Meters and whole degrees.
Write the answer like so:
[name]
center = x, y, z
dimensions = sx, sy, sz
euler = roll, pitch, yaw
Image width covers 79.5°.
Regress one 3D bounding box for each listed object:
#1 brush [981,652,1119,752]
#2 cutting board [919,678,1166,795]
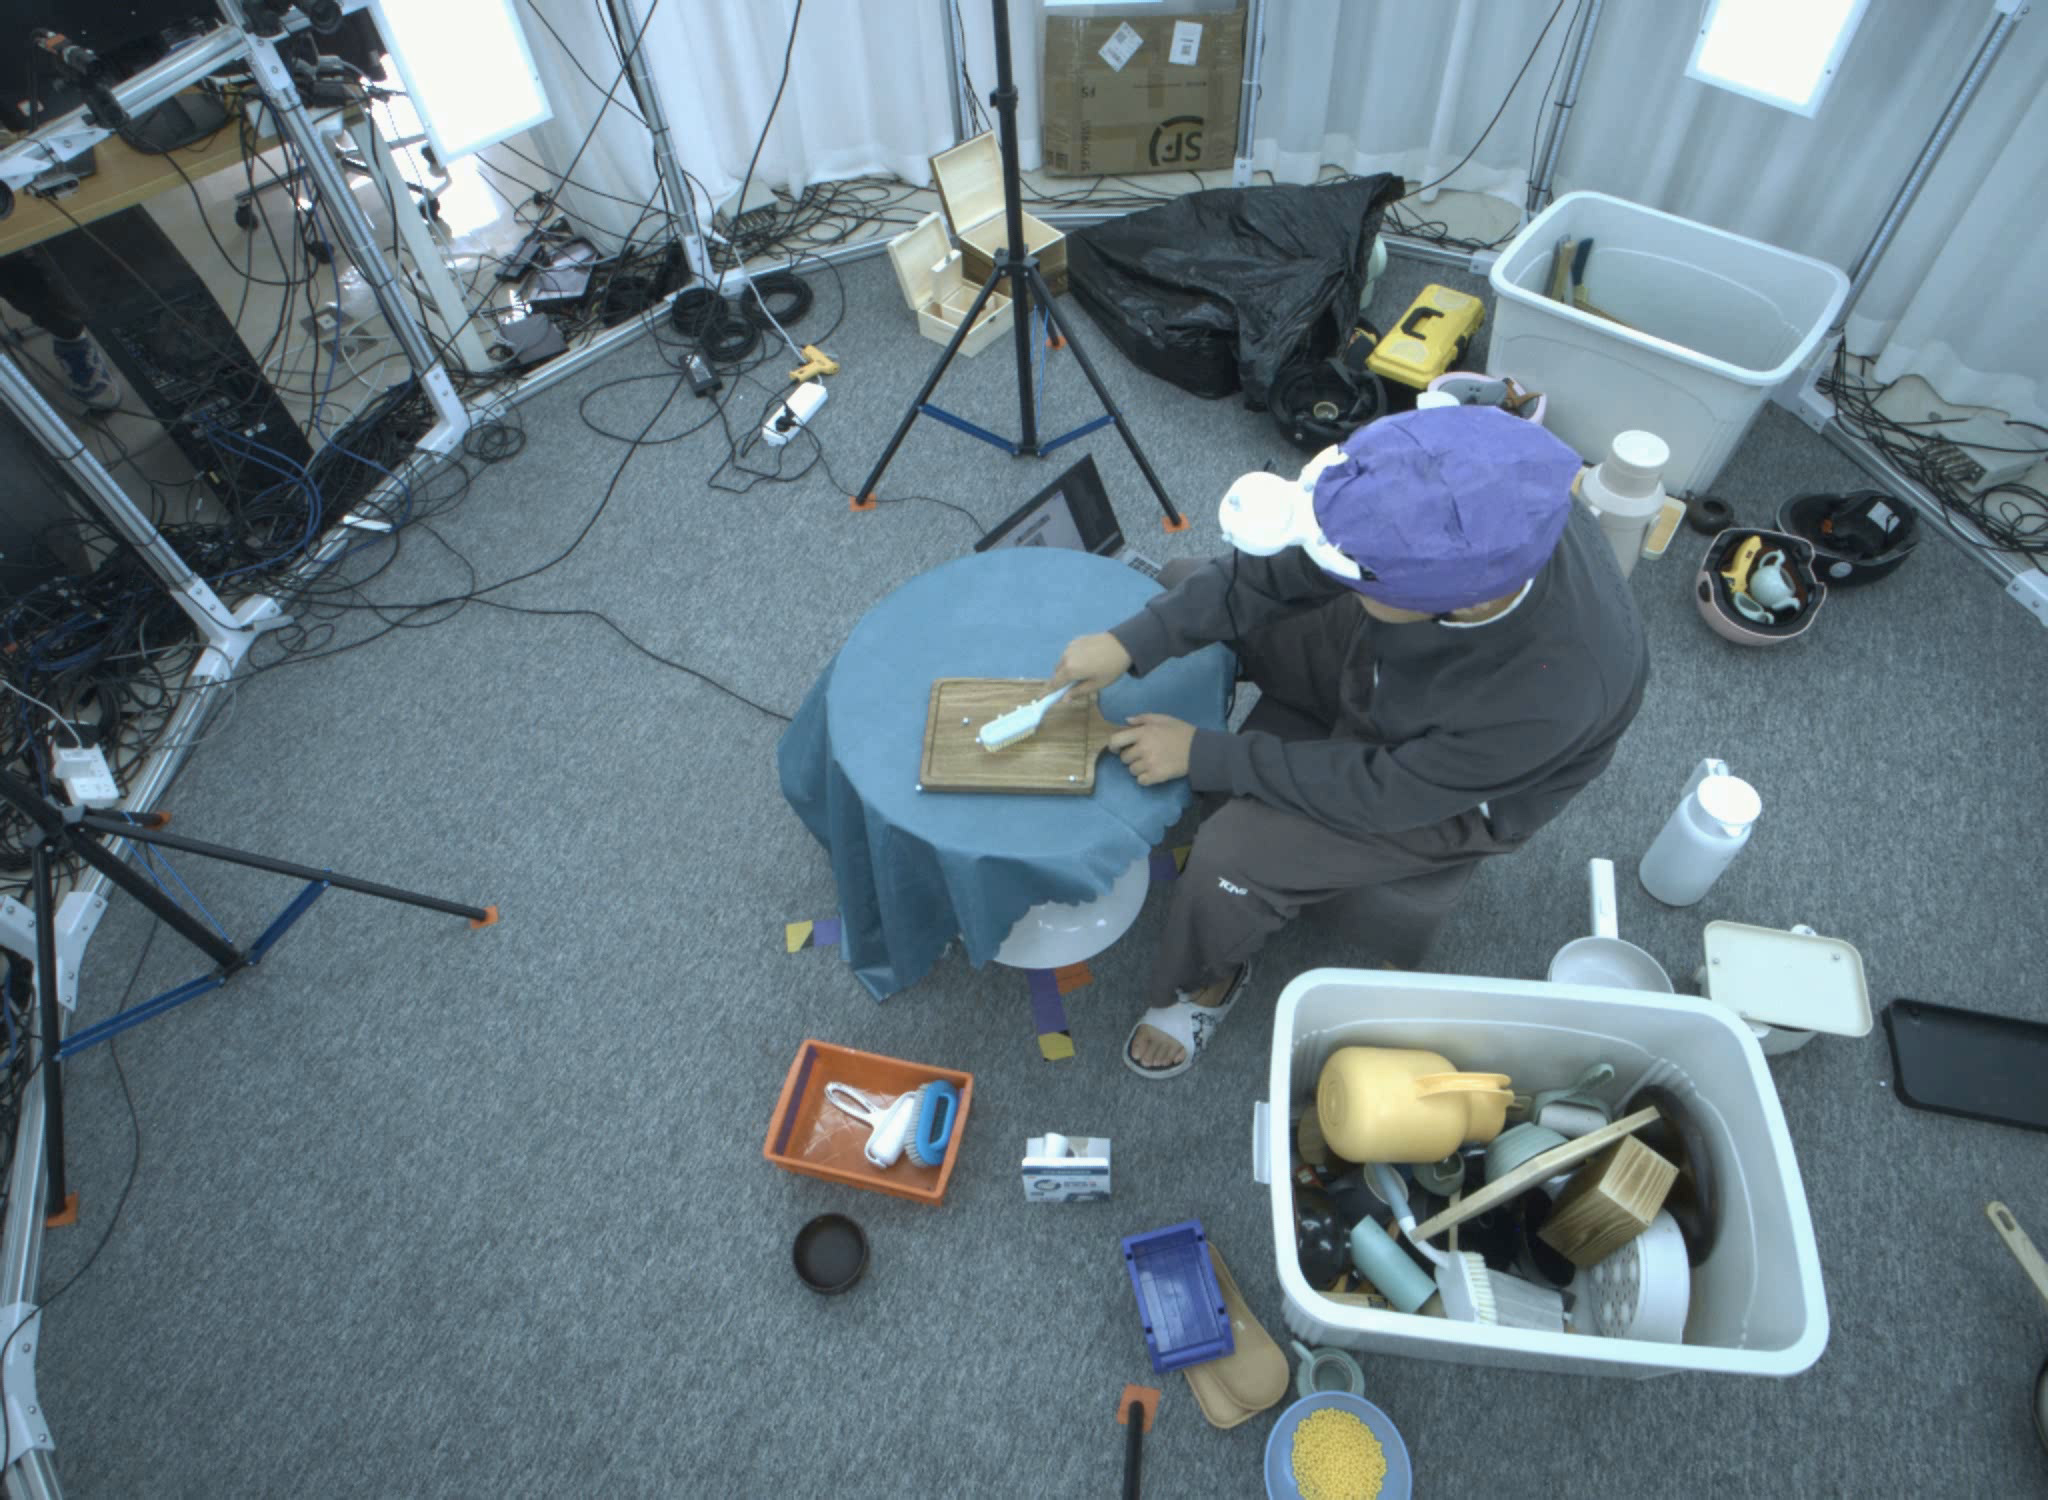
[brush]
center = 0.039, -0.072, 1.773
dimensions = 0.229, 0.050, 0.037
euler = -35, 58, -4
[cutting board]
center = 0.029, -0.021, 1.789
dimensions = 0.351, 0.023, 0.199
euler = 2, 55, 2
